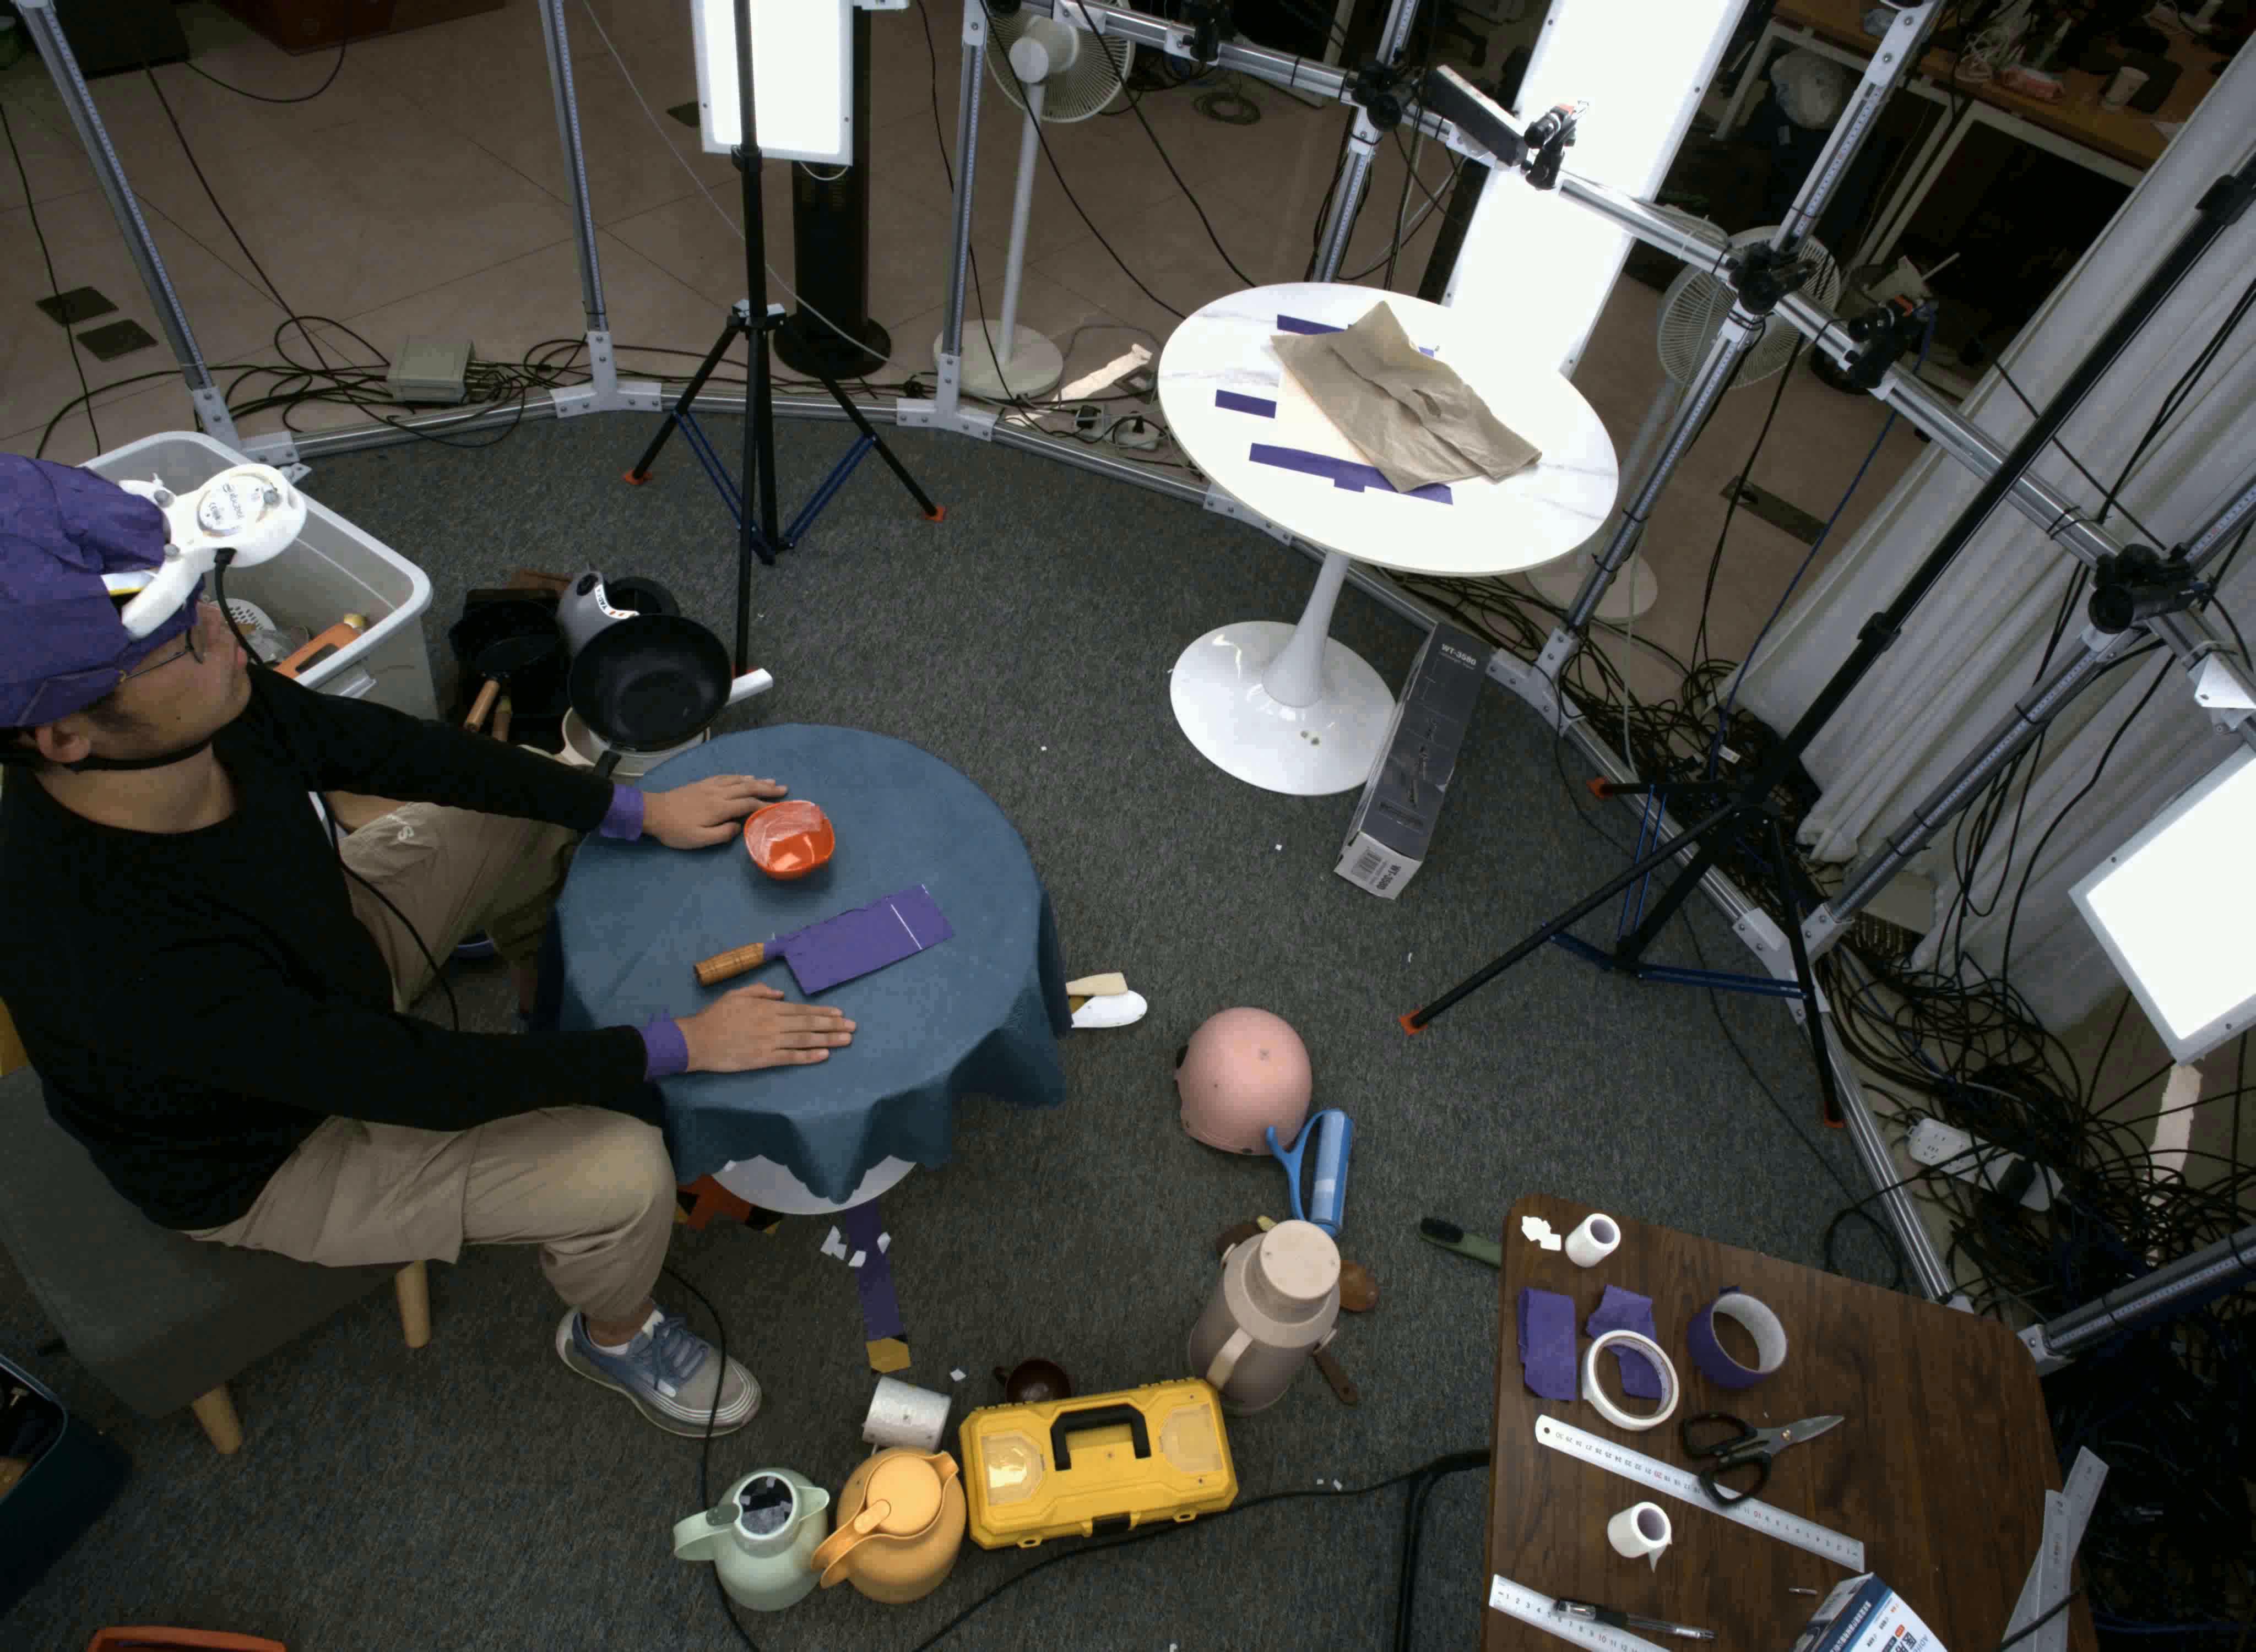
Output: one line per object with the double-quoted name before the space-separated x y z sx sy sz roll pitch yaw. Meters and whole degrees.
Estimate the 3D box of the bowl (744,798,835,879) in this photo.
"bowl" -0.435 0.023 1.665 0.119 0.052 0.117 10 52 -11

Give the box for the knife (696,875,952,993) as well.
"knife" -0.369 0.150 1.606 0.317 0.033 0.101 -24 62 -29
